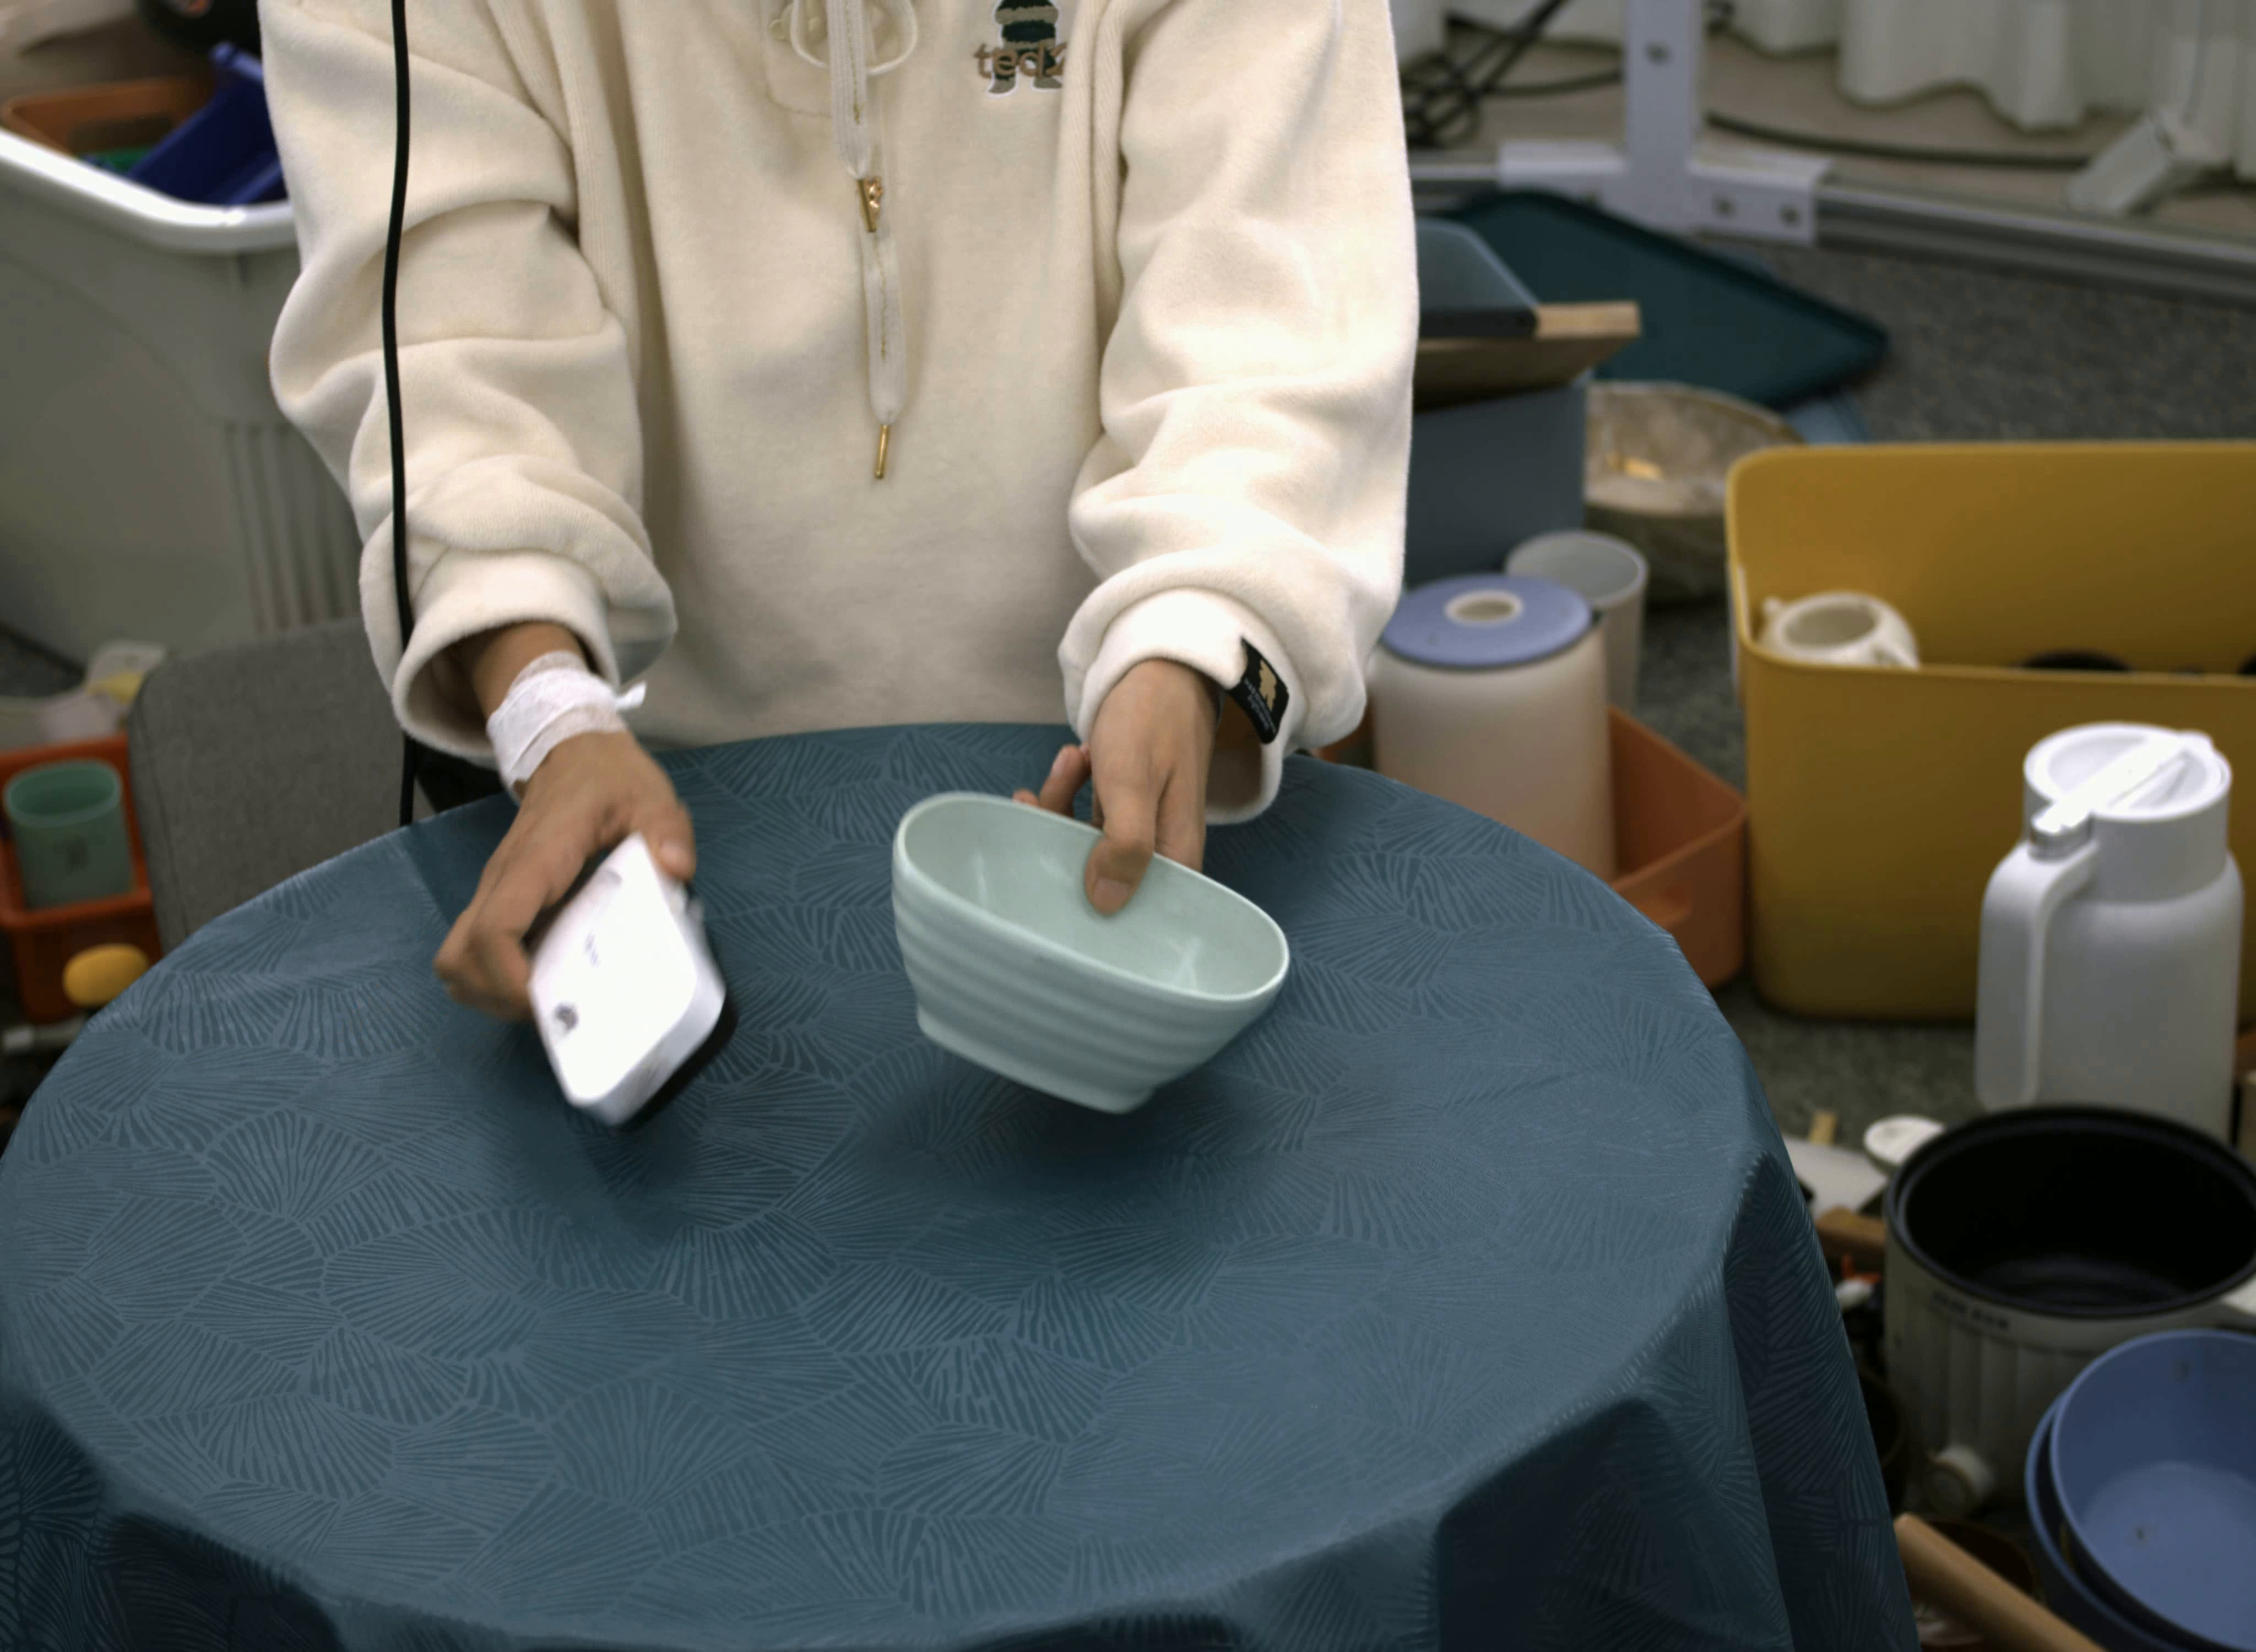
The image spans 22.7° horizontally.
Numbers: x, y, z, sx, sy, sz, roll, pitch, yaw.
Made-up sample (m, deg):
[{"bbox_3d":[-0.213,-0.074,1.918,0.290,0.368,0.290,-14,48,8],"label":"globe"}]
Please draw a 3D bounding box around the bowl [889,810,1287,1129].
[{"bbox_3d":[-0.021,0.053,1.883,0.151,0.058,0.153,19,16,-5],"label":"bowl"}]

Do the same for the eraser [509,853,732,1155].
[{"bbox_3d":[-0.172,0.057,1.900,0.063,0.034,0.133,-41,30,7],"label":"eraser"}]
